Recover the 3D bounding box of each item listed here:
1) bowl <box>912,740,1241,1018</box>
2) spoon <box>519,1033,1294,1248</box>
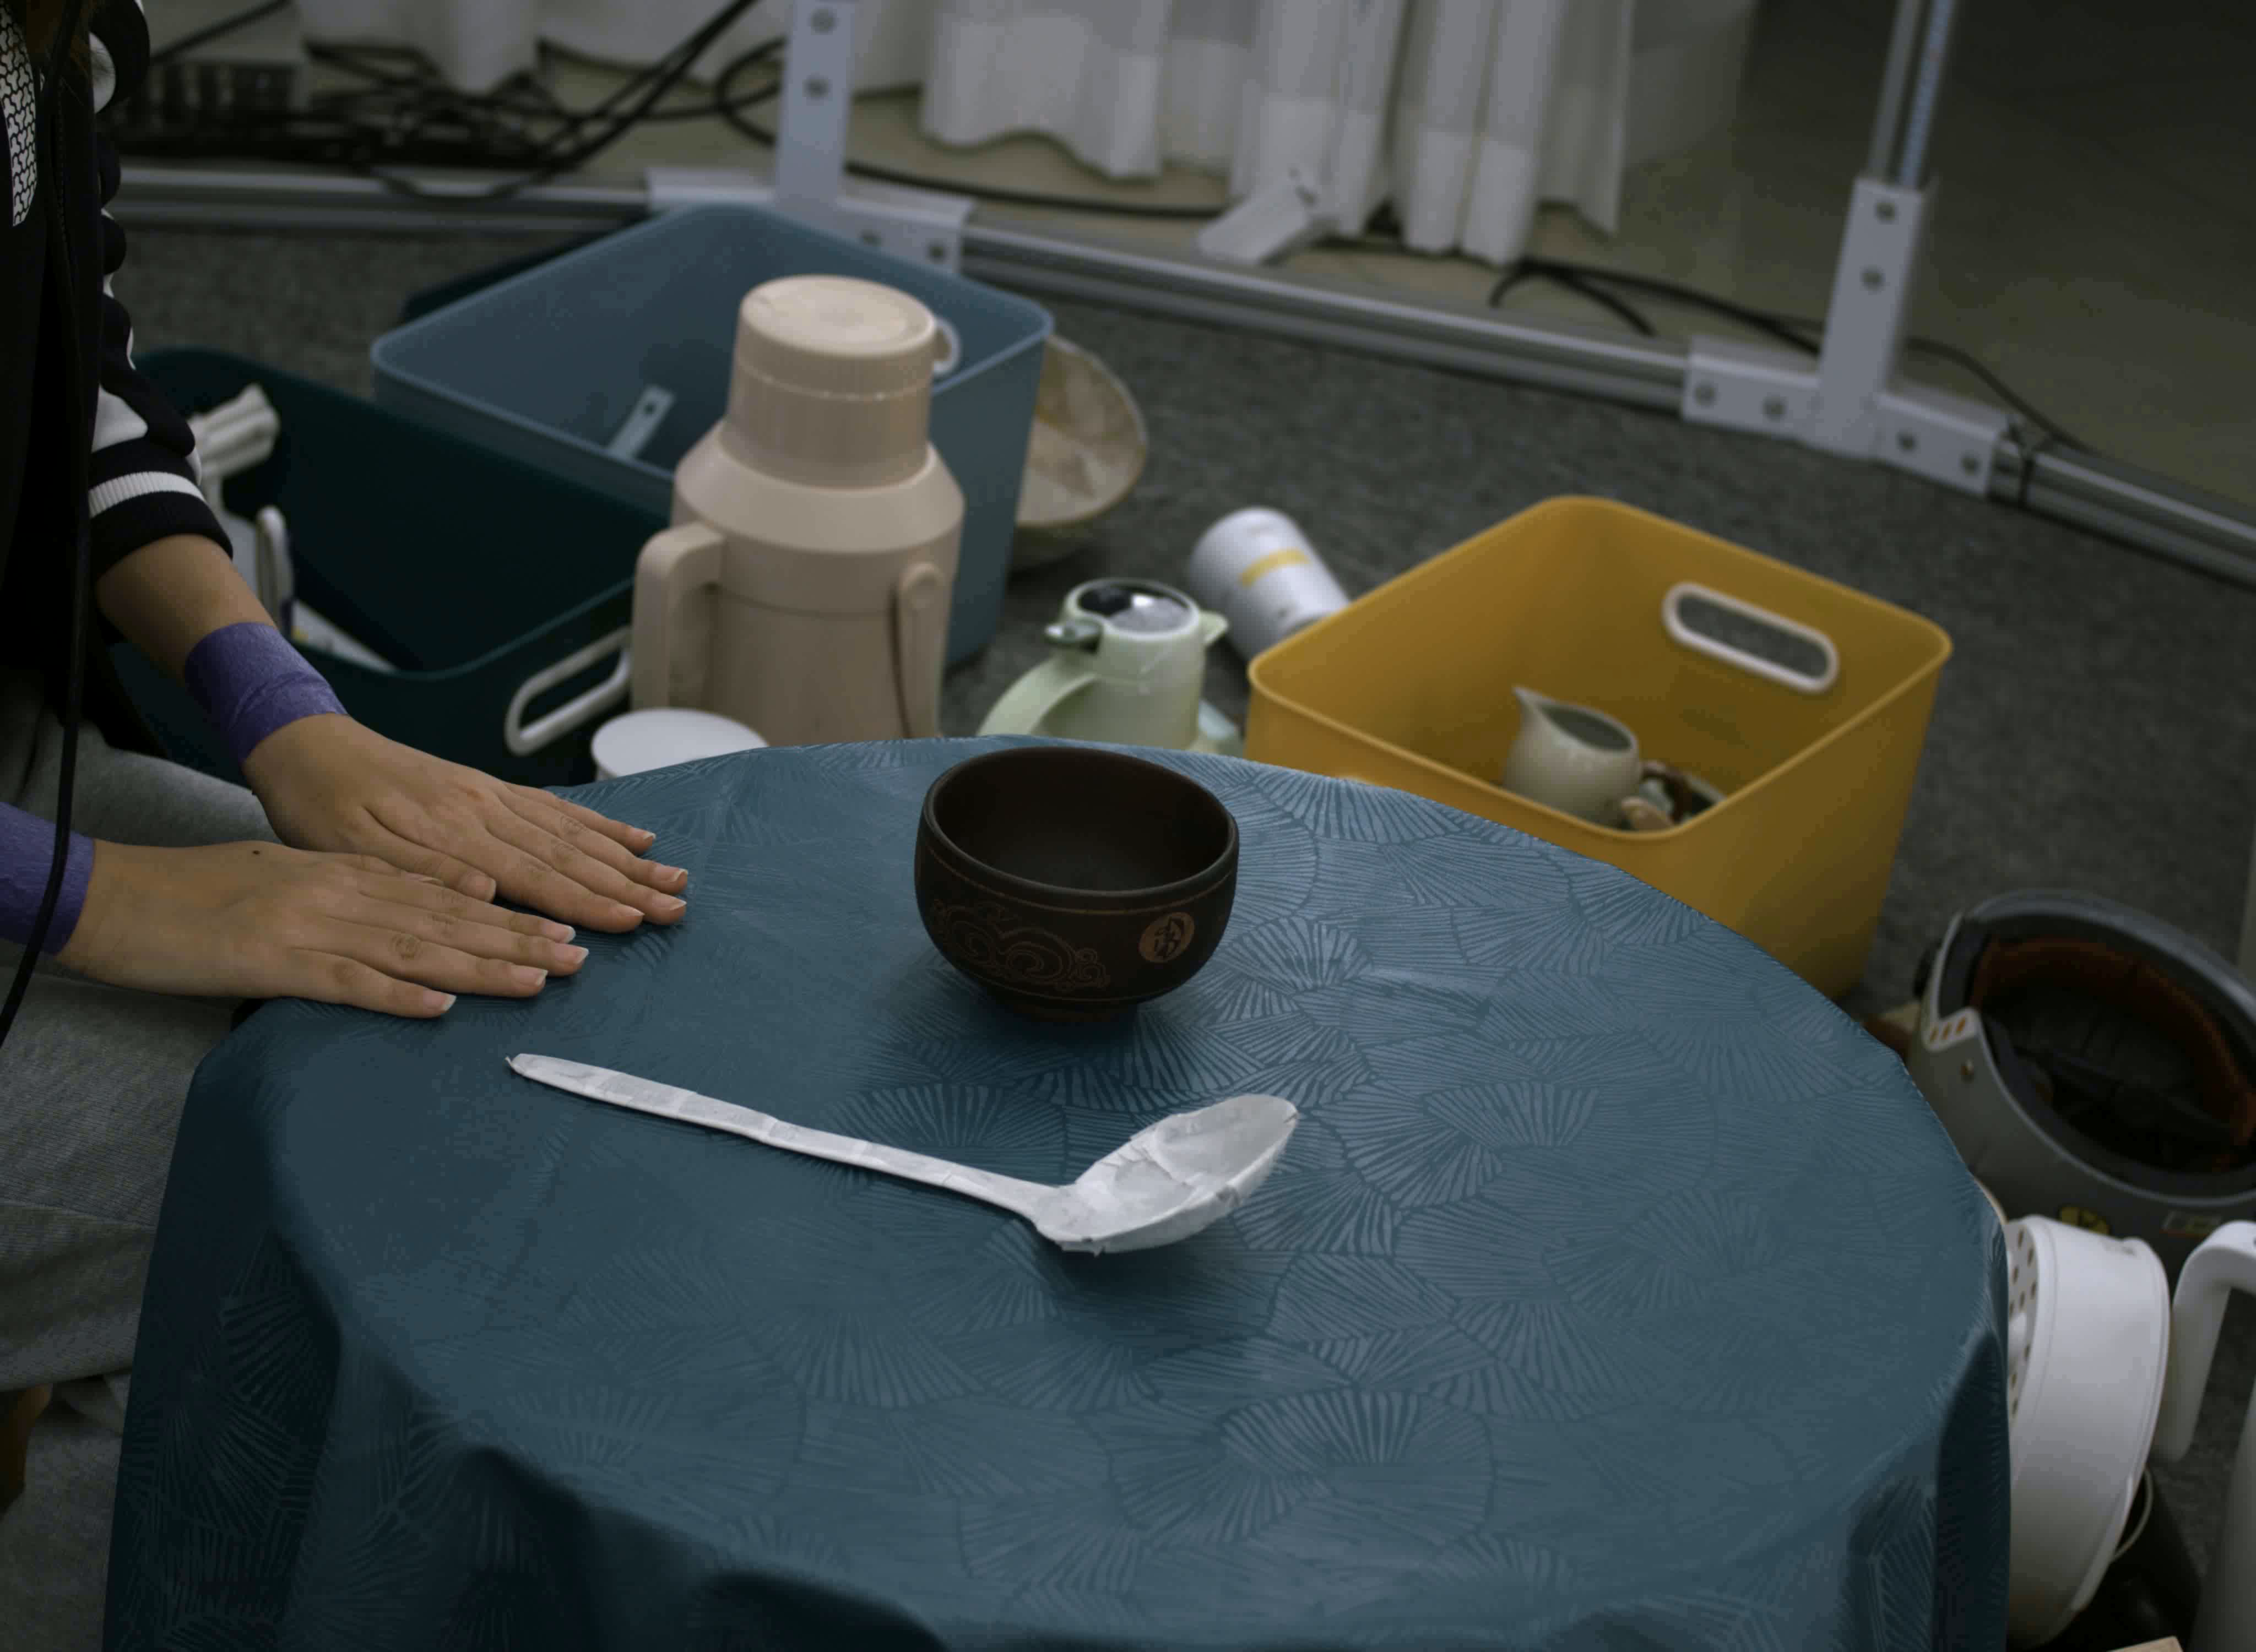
[{"bbox_3d":[-0.020,0.025,1.909,0.117,0.069,0.119,5,26,-3],"label":"bowl"},{"bbox_3d":[-0.078,0.087,1.794,0.278,0.059,0.100,16,25,17],"label":"spoon"}]
